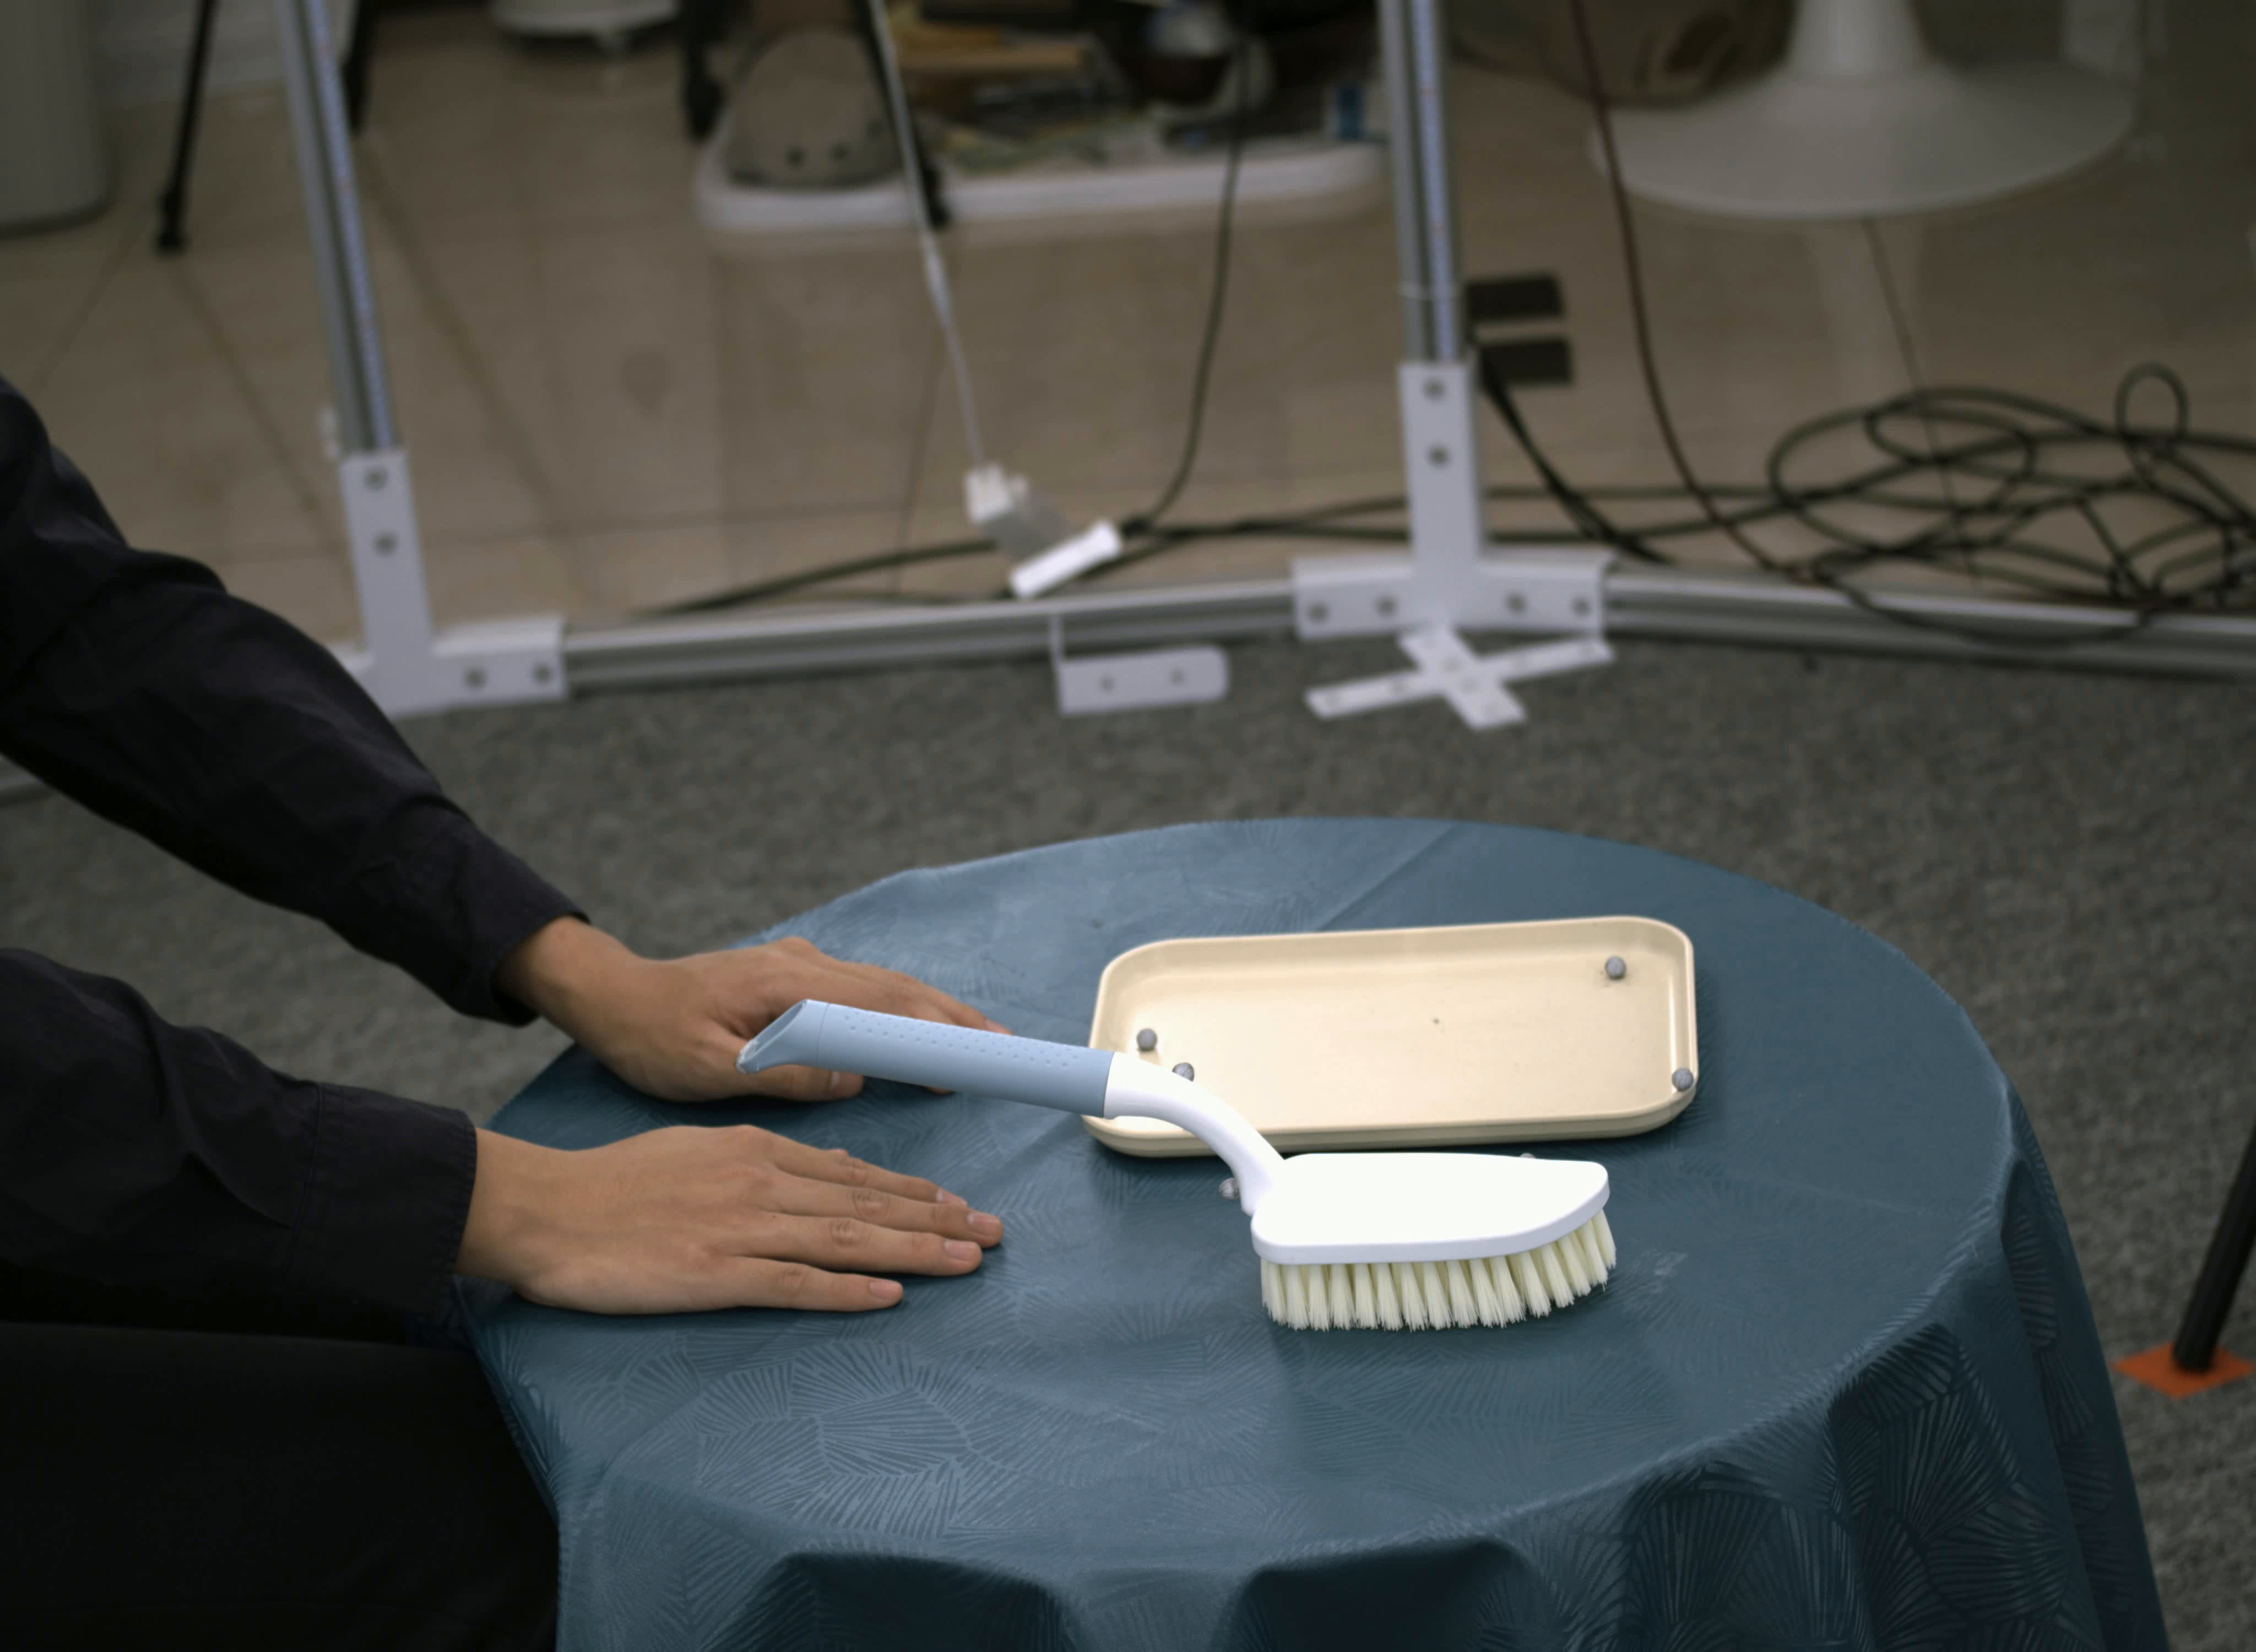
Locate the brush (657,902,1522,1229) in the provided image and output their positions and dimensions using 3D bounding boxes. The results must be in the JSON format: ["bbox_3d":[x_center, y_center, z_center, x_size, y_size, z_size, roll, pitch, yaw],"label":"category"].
[{"bbox_3d":[-0.016,0.098,2.087,0.324,0.084,0.083,10,-9,5],"label":"brush"}]

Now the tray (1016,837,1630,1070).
[{"bbox_3d":[0.079,0.051,2.243,0.239,0.018,0.169,-3,25,7],"label":"tray"}]
